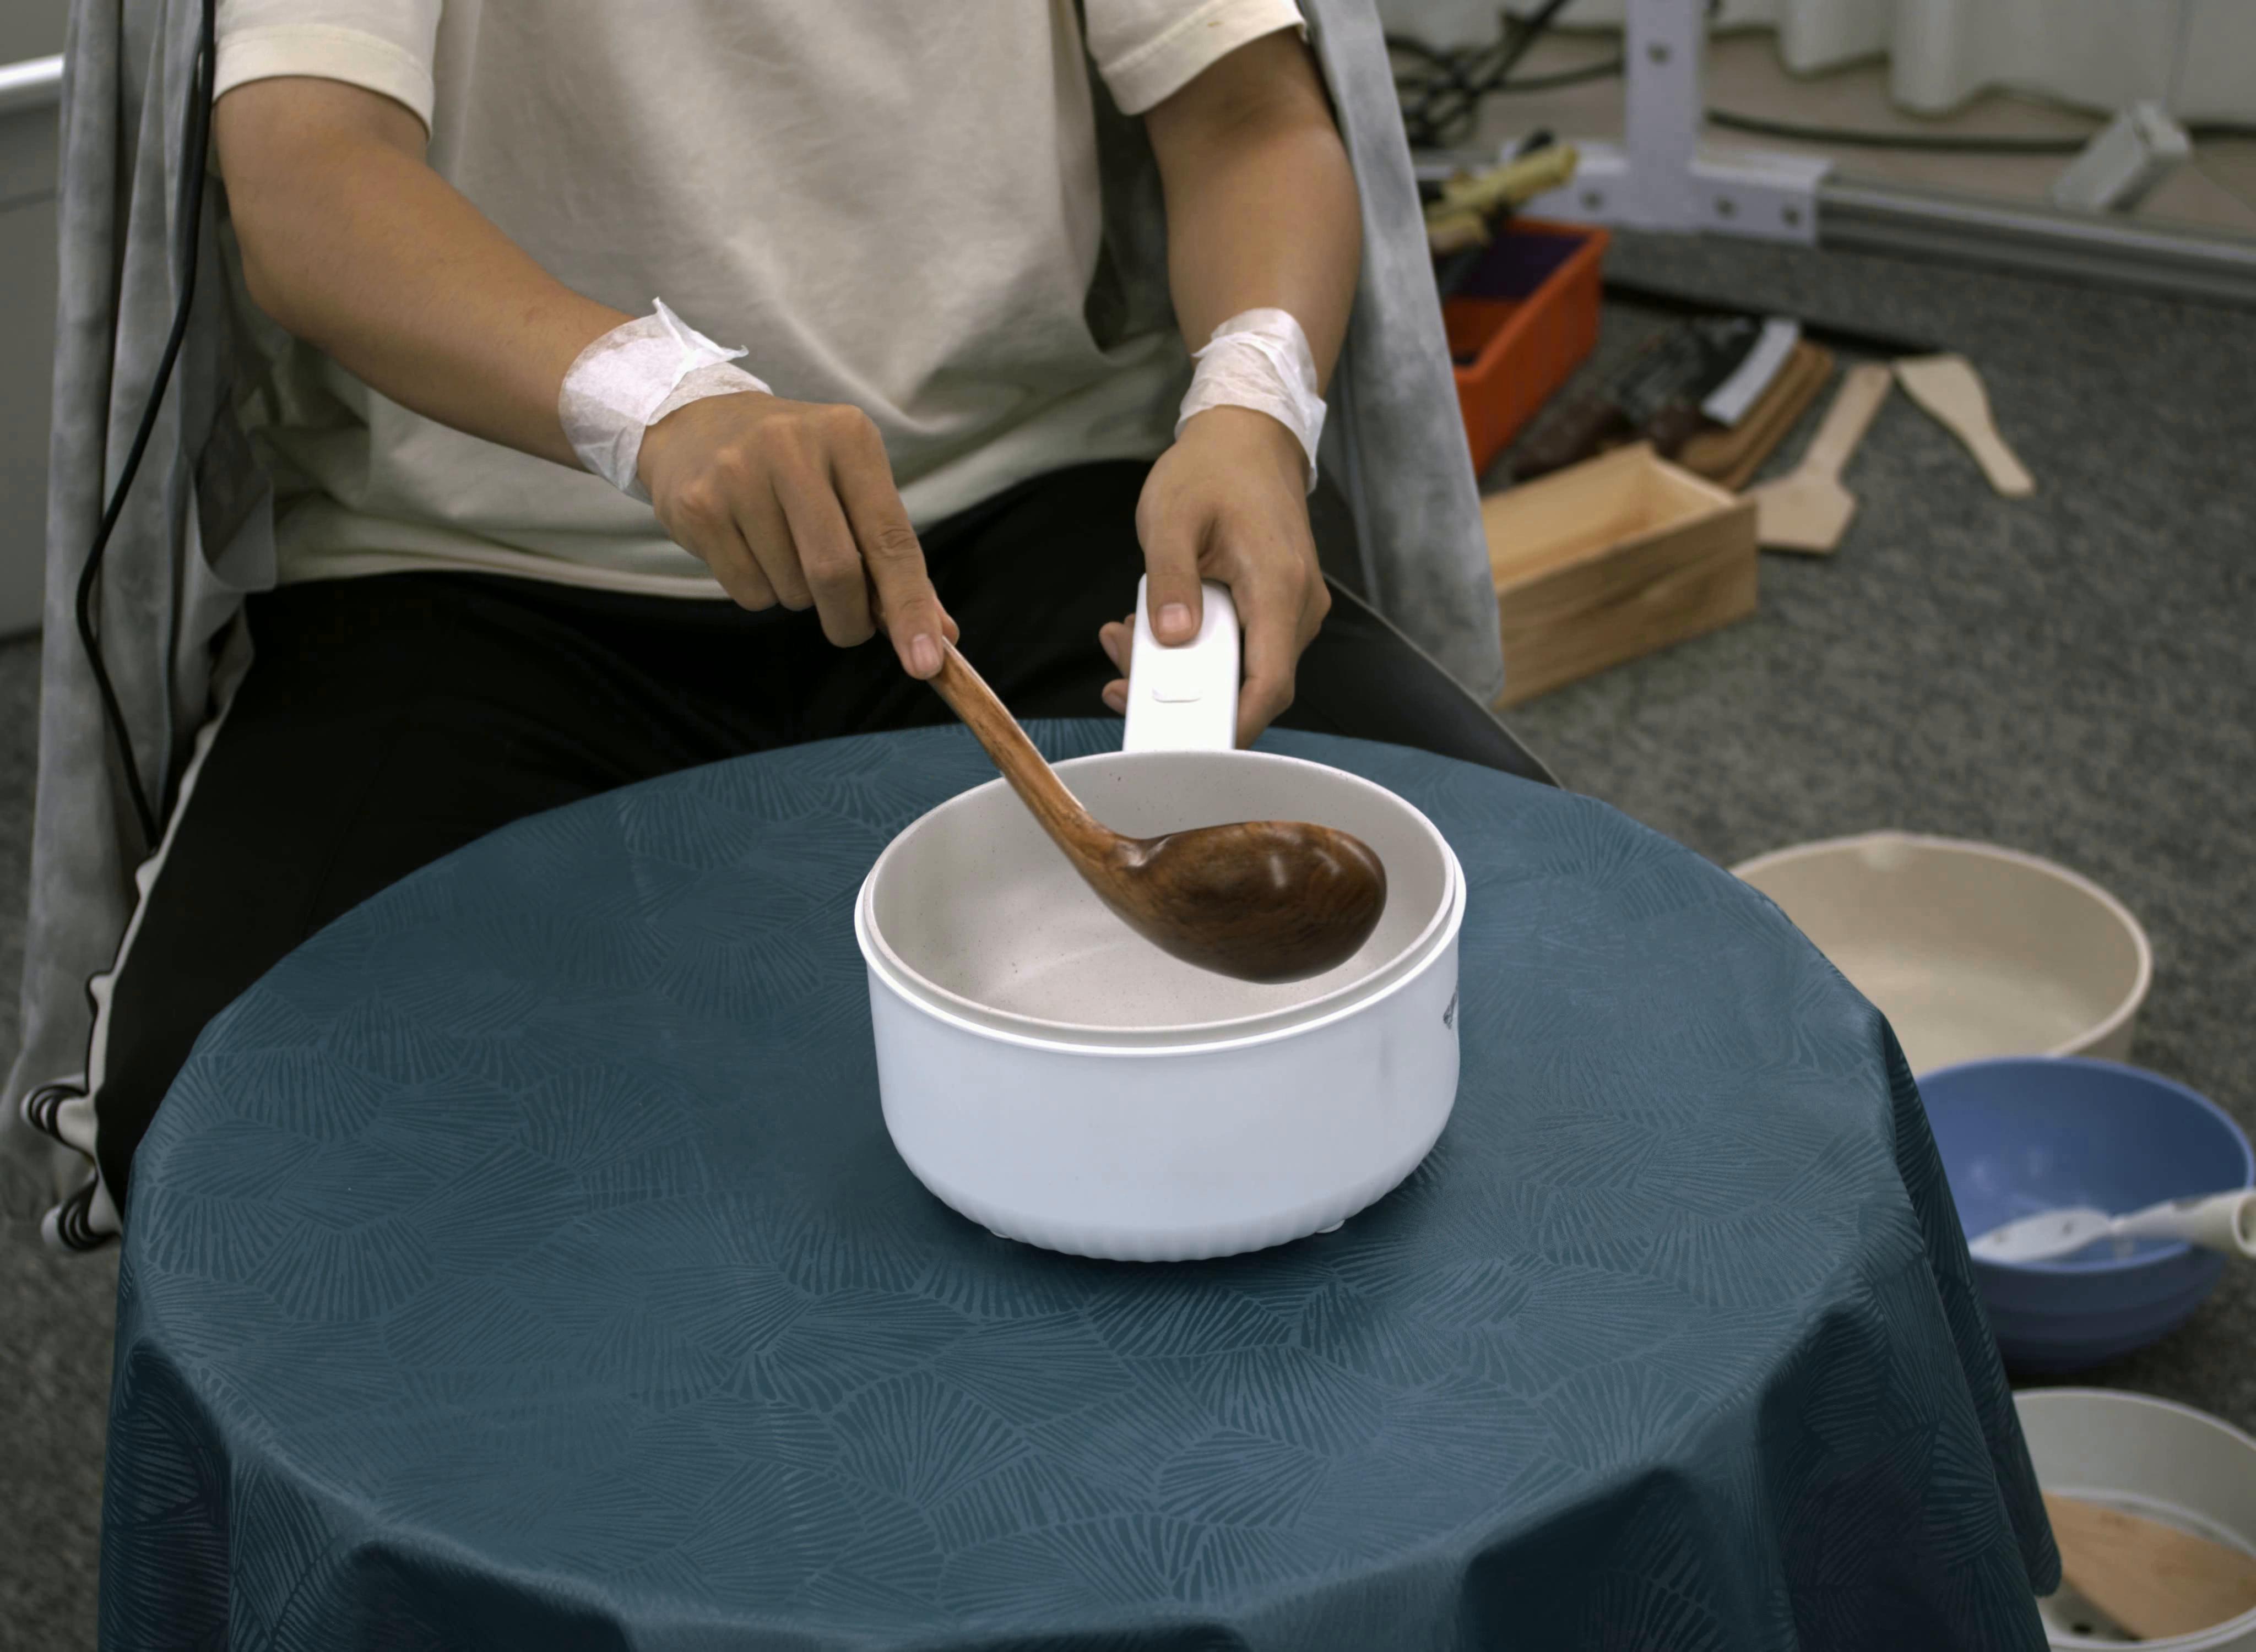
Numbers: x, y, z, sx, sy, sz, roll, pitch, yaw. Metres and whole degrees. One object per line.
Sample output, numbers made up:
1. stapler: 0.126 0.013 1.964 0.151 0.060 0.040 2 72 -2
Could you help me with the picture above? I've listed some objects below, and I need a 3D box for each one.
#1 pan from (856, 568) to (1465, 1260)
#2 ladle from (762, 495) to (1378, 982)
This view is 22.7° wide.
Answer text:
1. pan: 0.018 0.027 1.935 0.200 0.101 0.360 -2 26 5
2. ladle: -0.020 -0.044 1.859 0.077 0.081 0.276 -33 54 -13
